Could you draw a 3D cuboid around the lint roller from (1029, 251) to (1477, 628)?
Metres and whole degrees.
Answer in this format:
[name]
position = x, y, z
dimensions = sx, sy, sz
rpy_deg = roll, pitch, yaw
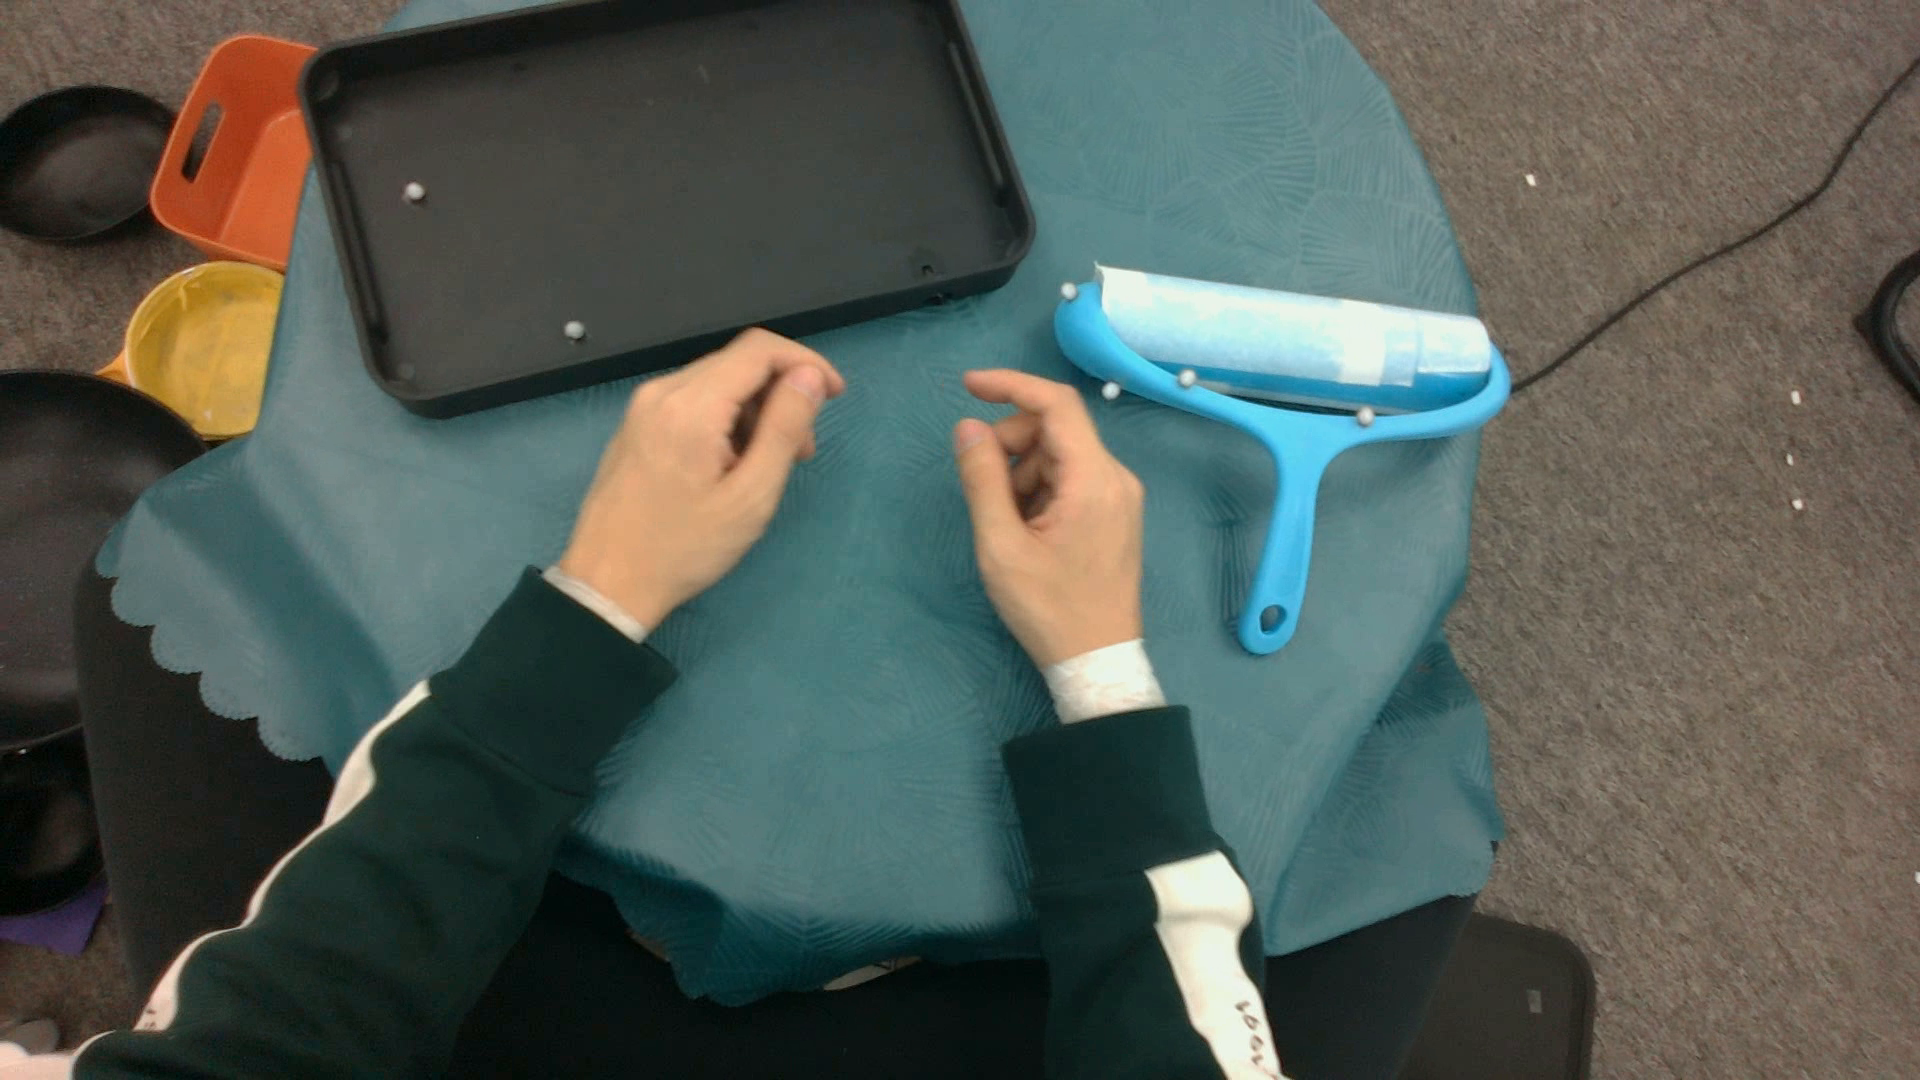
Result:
[lint roller]
position = 0.148, -0.051, 0.673
dimensions = 0.229, 0.067, 0.180
rpy_deg = 3, 74, -11

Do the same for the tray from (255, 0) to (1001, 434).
[tray]
position = -0.154, -0.177, 0.670
dimensions = 0.318, 0.037, 0.184
rpy_deg = -19, 80, -14
